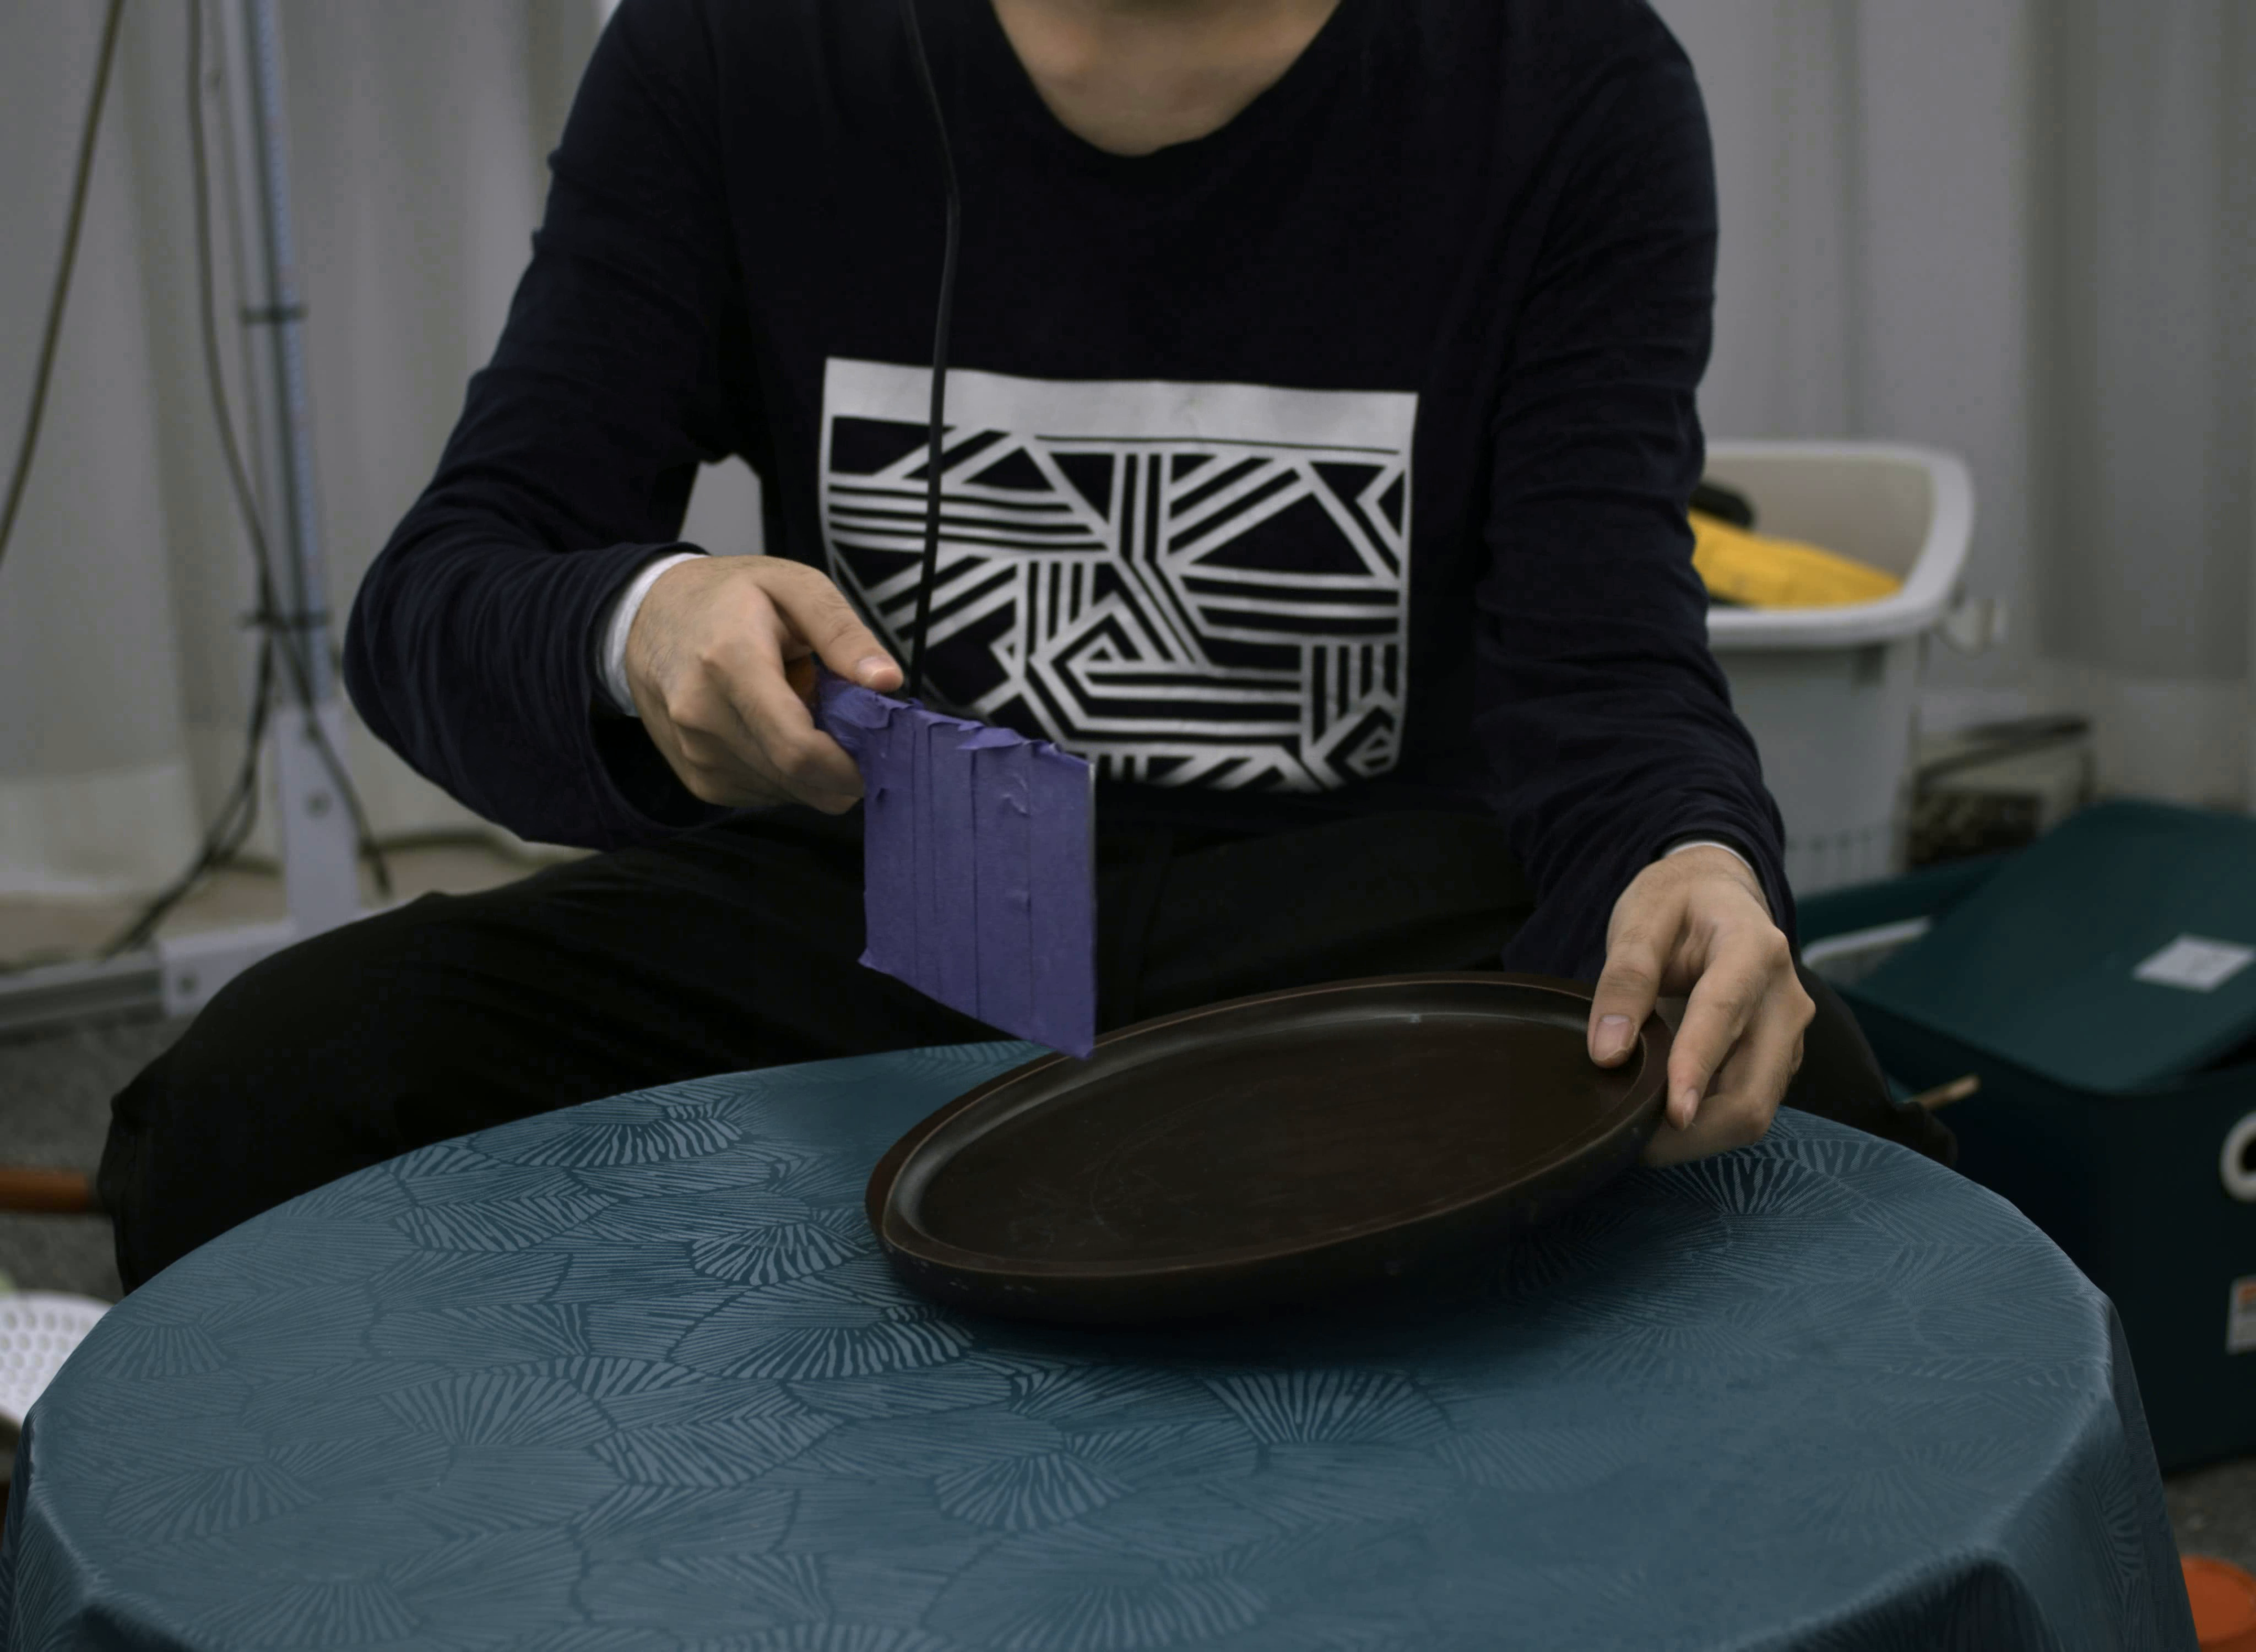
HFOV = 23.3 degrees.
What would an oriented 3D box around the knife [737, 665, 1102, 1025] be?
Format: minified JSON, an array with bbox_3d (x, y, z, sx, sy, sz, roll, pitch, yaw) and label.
[{"bbox_3d":[-0.068,0.004,1.710,0.032,0.104,0.316,-1,6,-19],"label":"knife"}]

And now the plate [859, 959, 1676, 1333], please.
[{"bbox_3d":[0.043,0.098,1.665,0.254,0.029,0.256,-12,15,3],"label":"plate"}]
